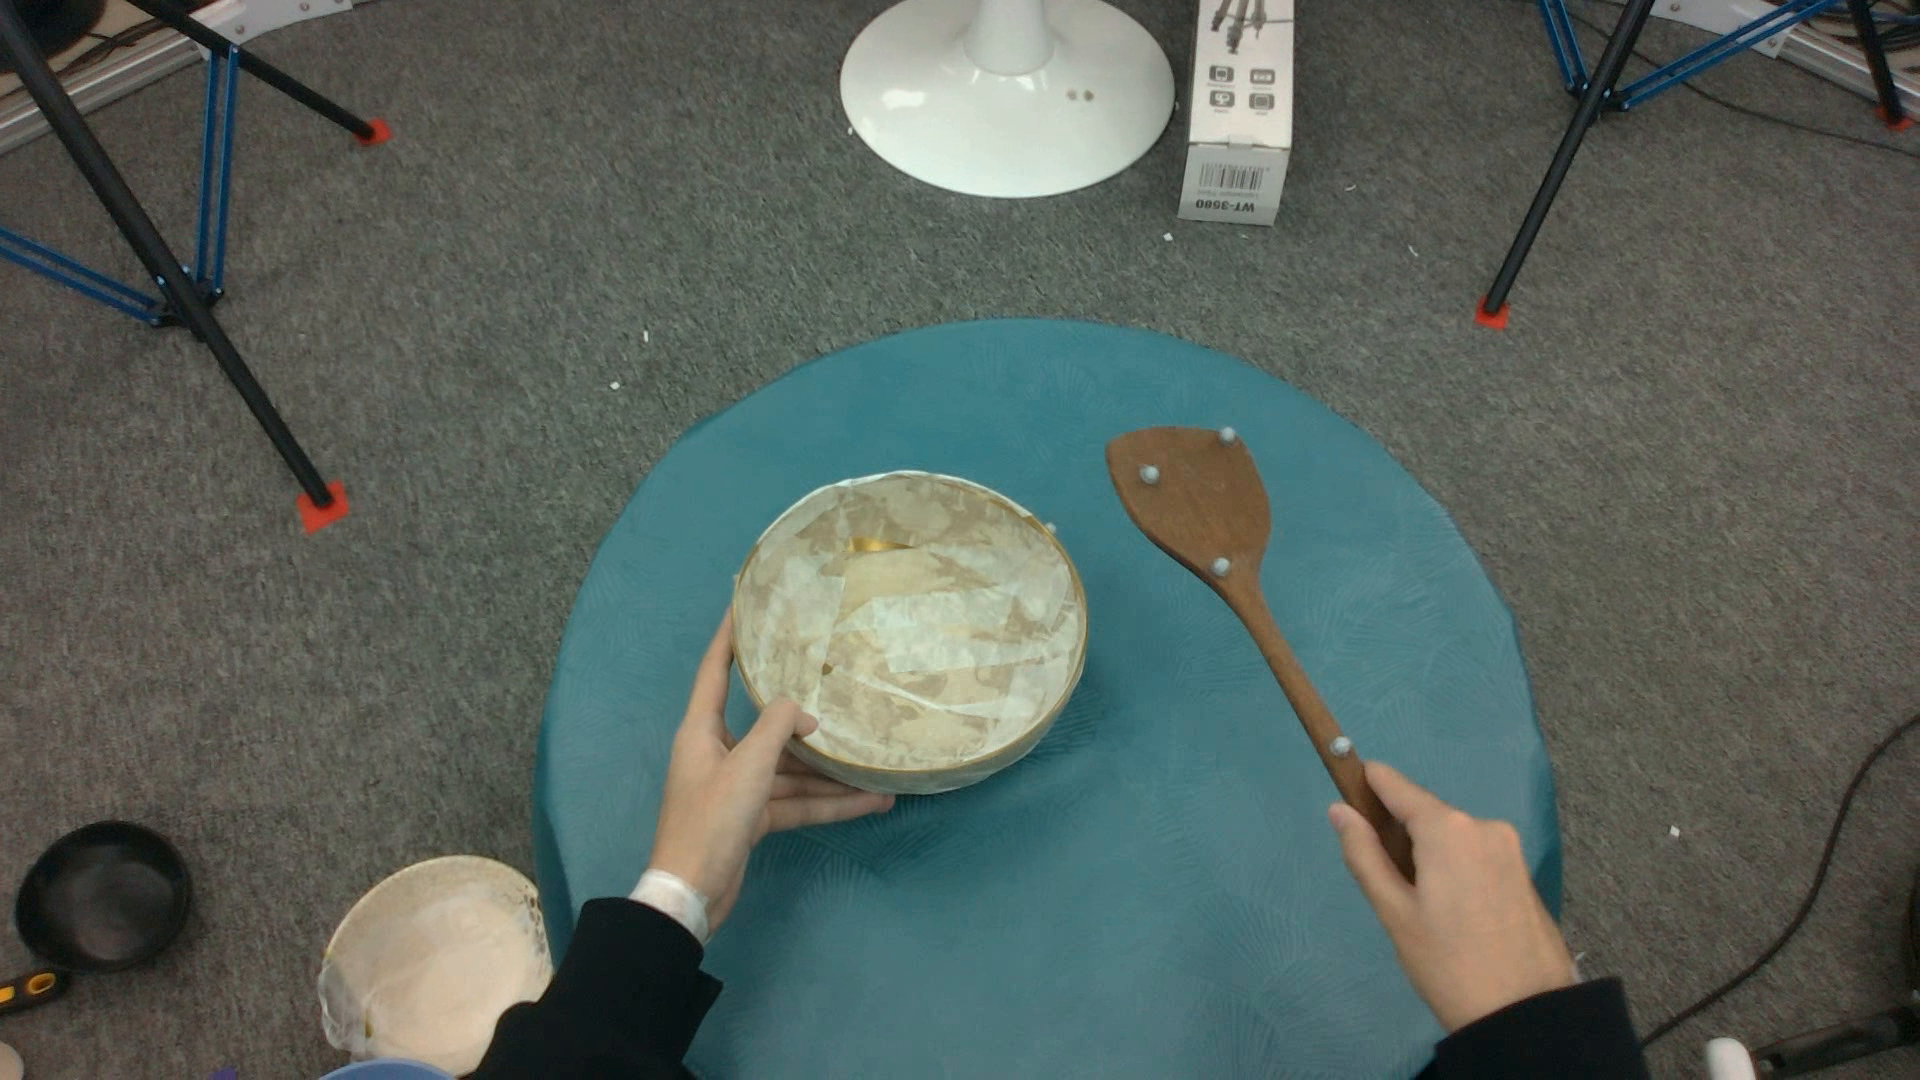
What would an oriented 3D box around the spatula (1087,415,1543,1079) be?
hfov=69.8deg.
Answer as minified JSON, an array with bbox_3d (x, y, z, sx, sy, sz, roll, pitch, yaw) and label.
[{"bbox_3d":[0.169,0.080,0.668,0.096,0.015,0.387,-5,53,-26],"label":"spatula"}]

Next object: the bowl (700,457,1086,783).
[{"bbox_3d":[-0.037,0.060,0.792,0.215,0.094,0.215,3,53,-4],"label":"bowl"}]
